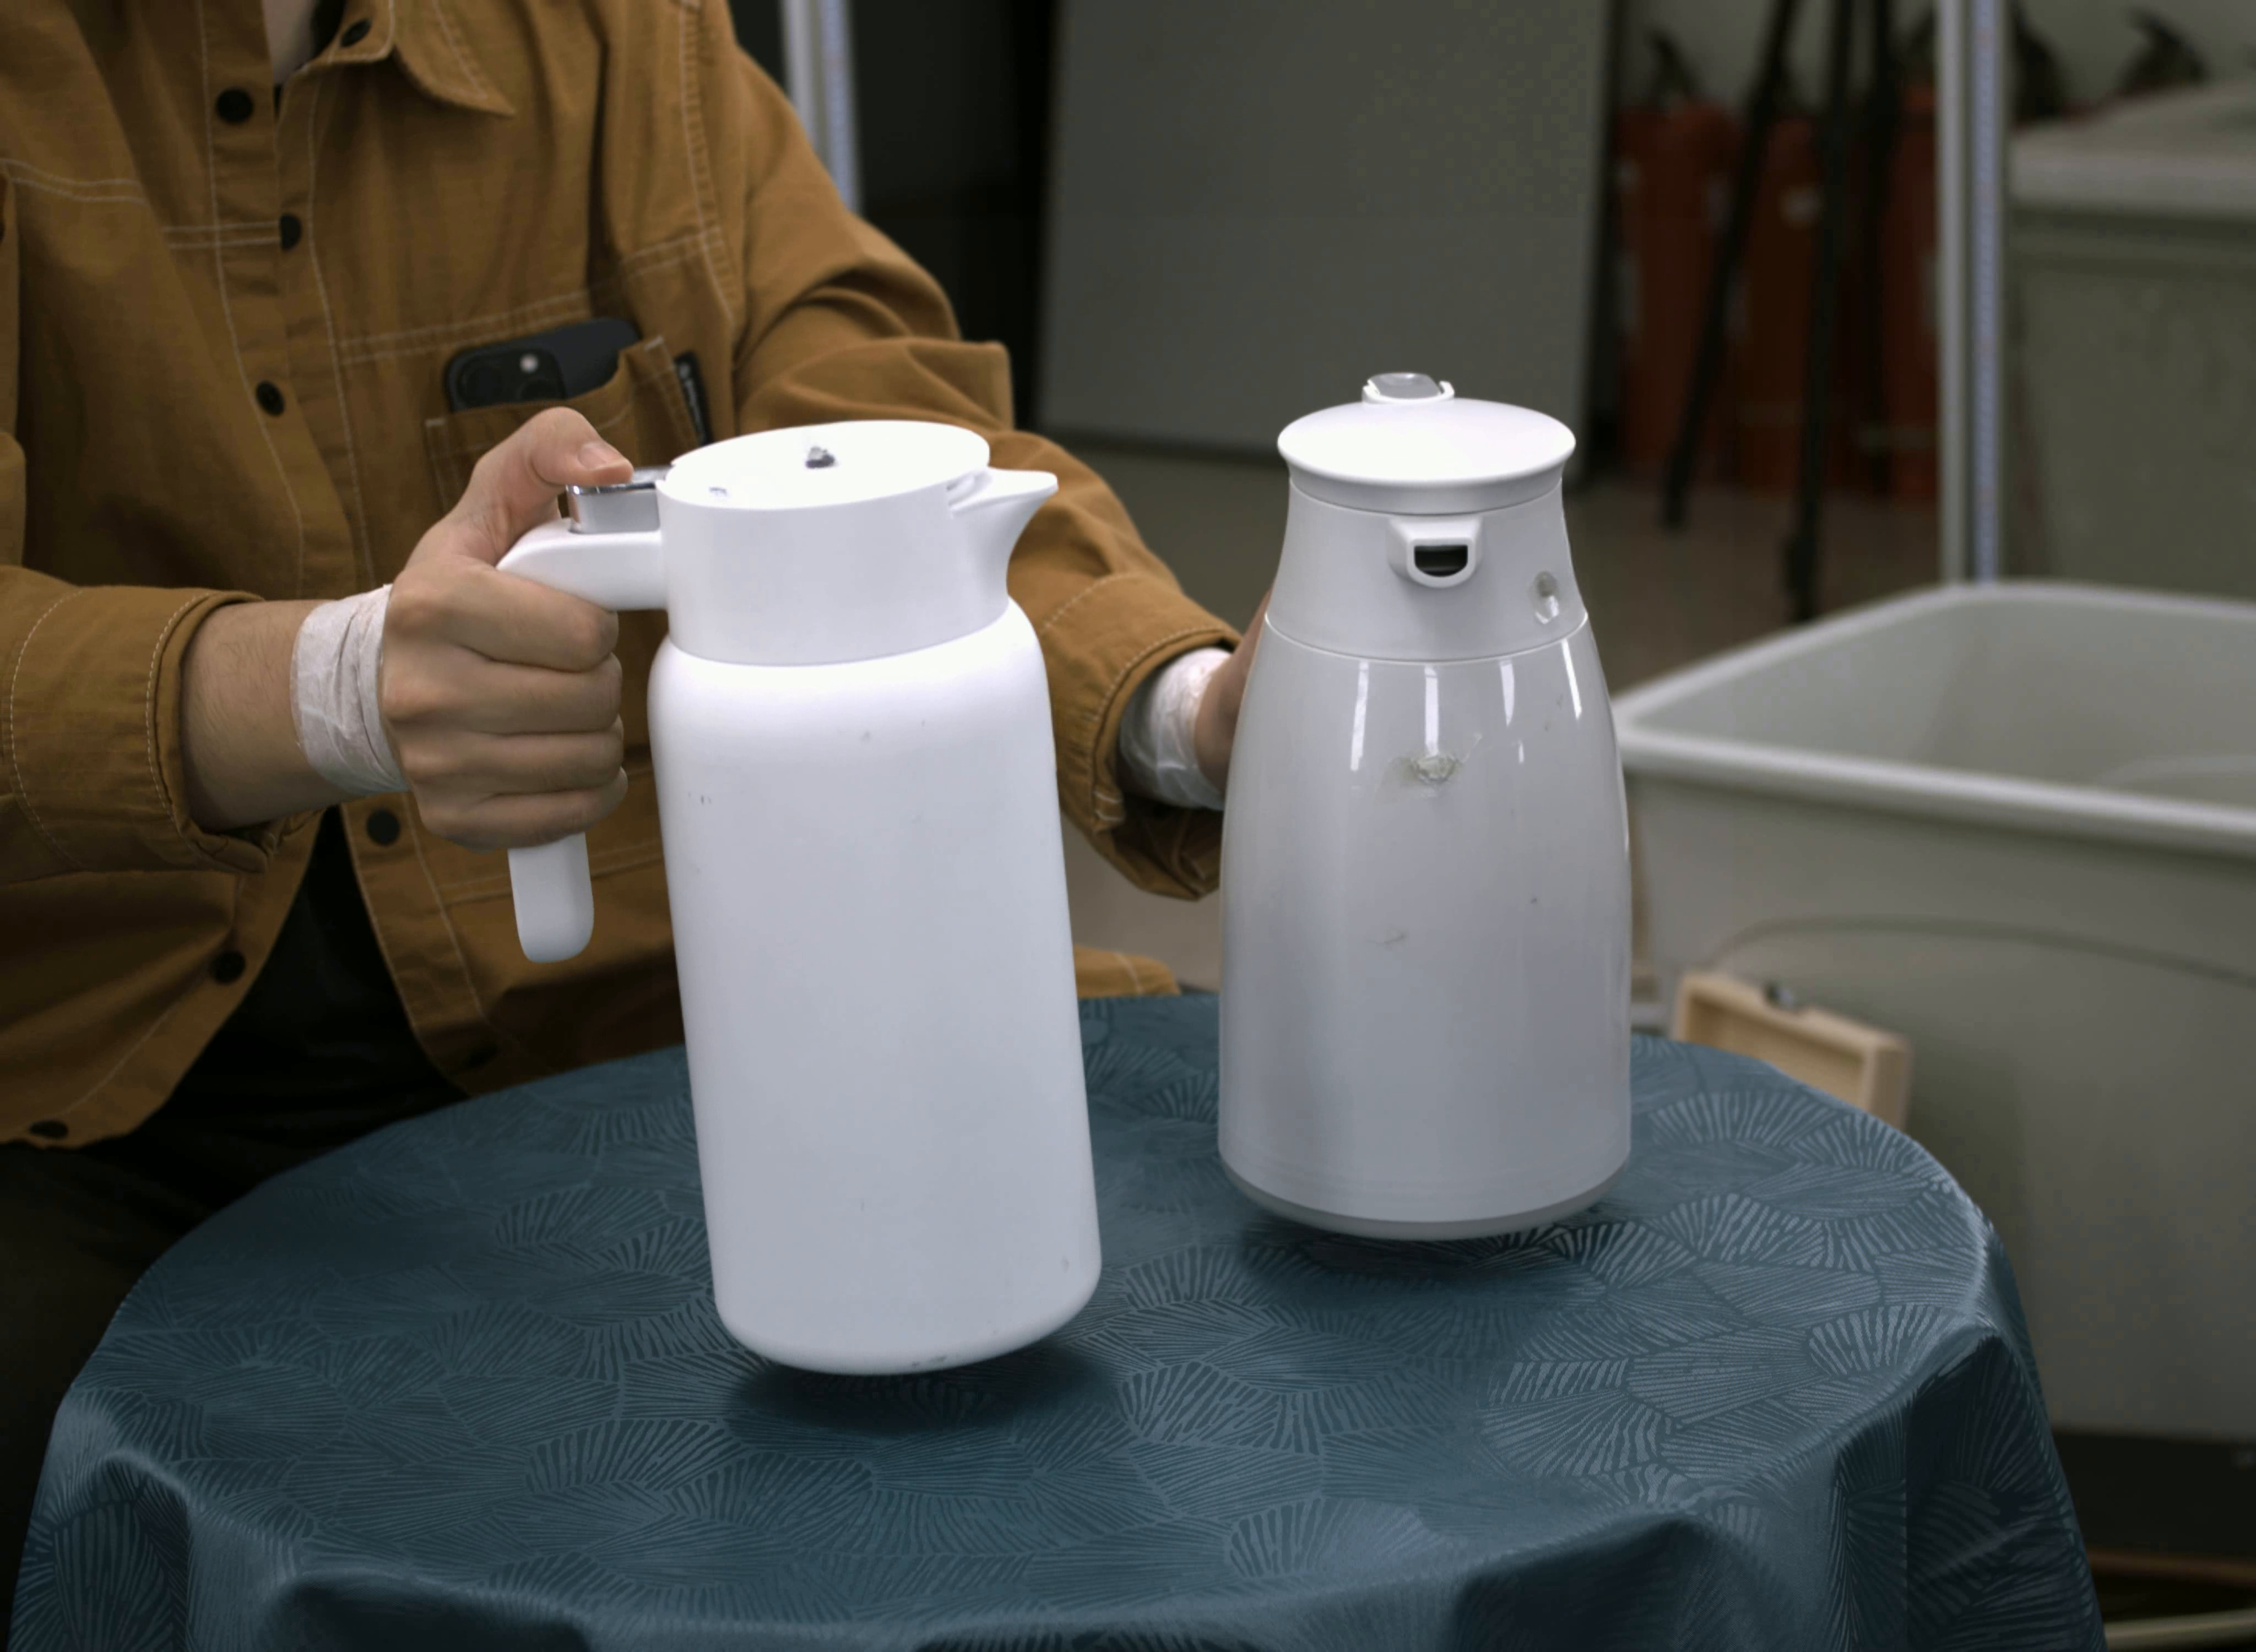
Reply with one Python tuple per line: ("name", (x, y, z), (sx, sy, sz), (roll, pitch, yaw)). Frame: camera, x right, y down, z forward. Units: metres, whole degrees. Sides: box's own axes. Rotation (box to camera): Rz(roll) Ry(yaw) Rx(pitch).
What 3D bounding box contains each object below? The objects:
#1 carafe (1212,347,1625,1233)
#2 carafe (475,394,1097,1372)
("carafe", (0.089, -0.020, 1.692), (0.131, 0.251, 0.168), (-2, 18, -1))
("carafe", (-0.095, 0.017, 1.578), (0.171, 0.271, 0.123), (-4, 18, 9))
